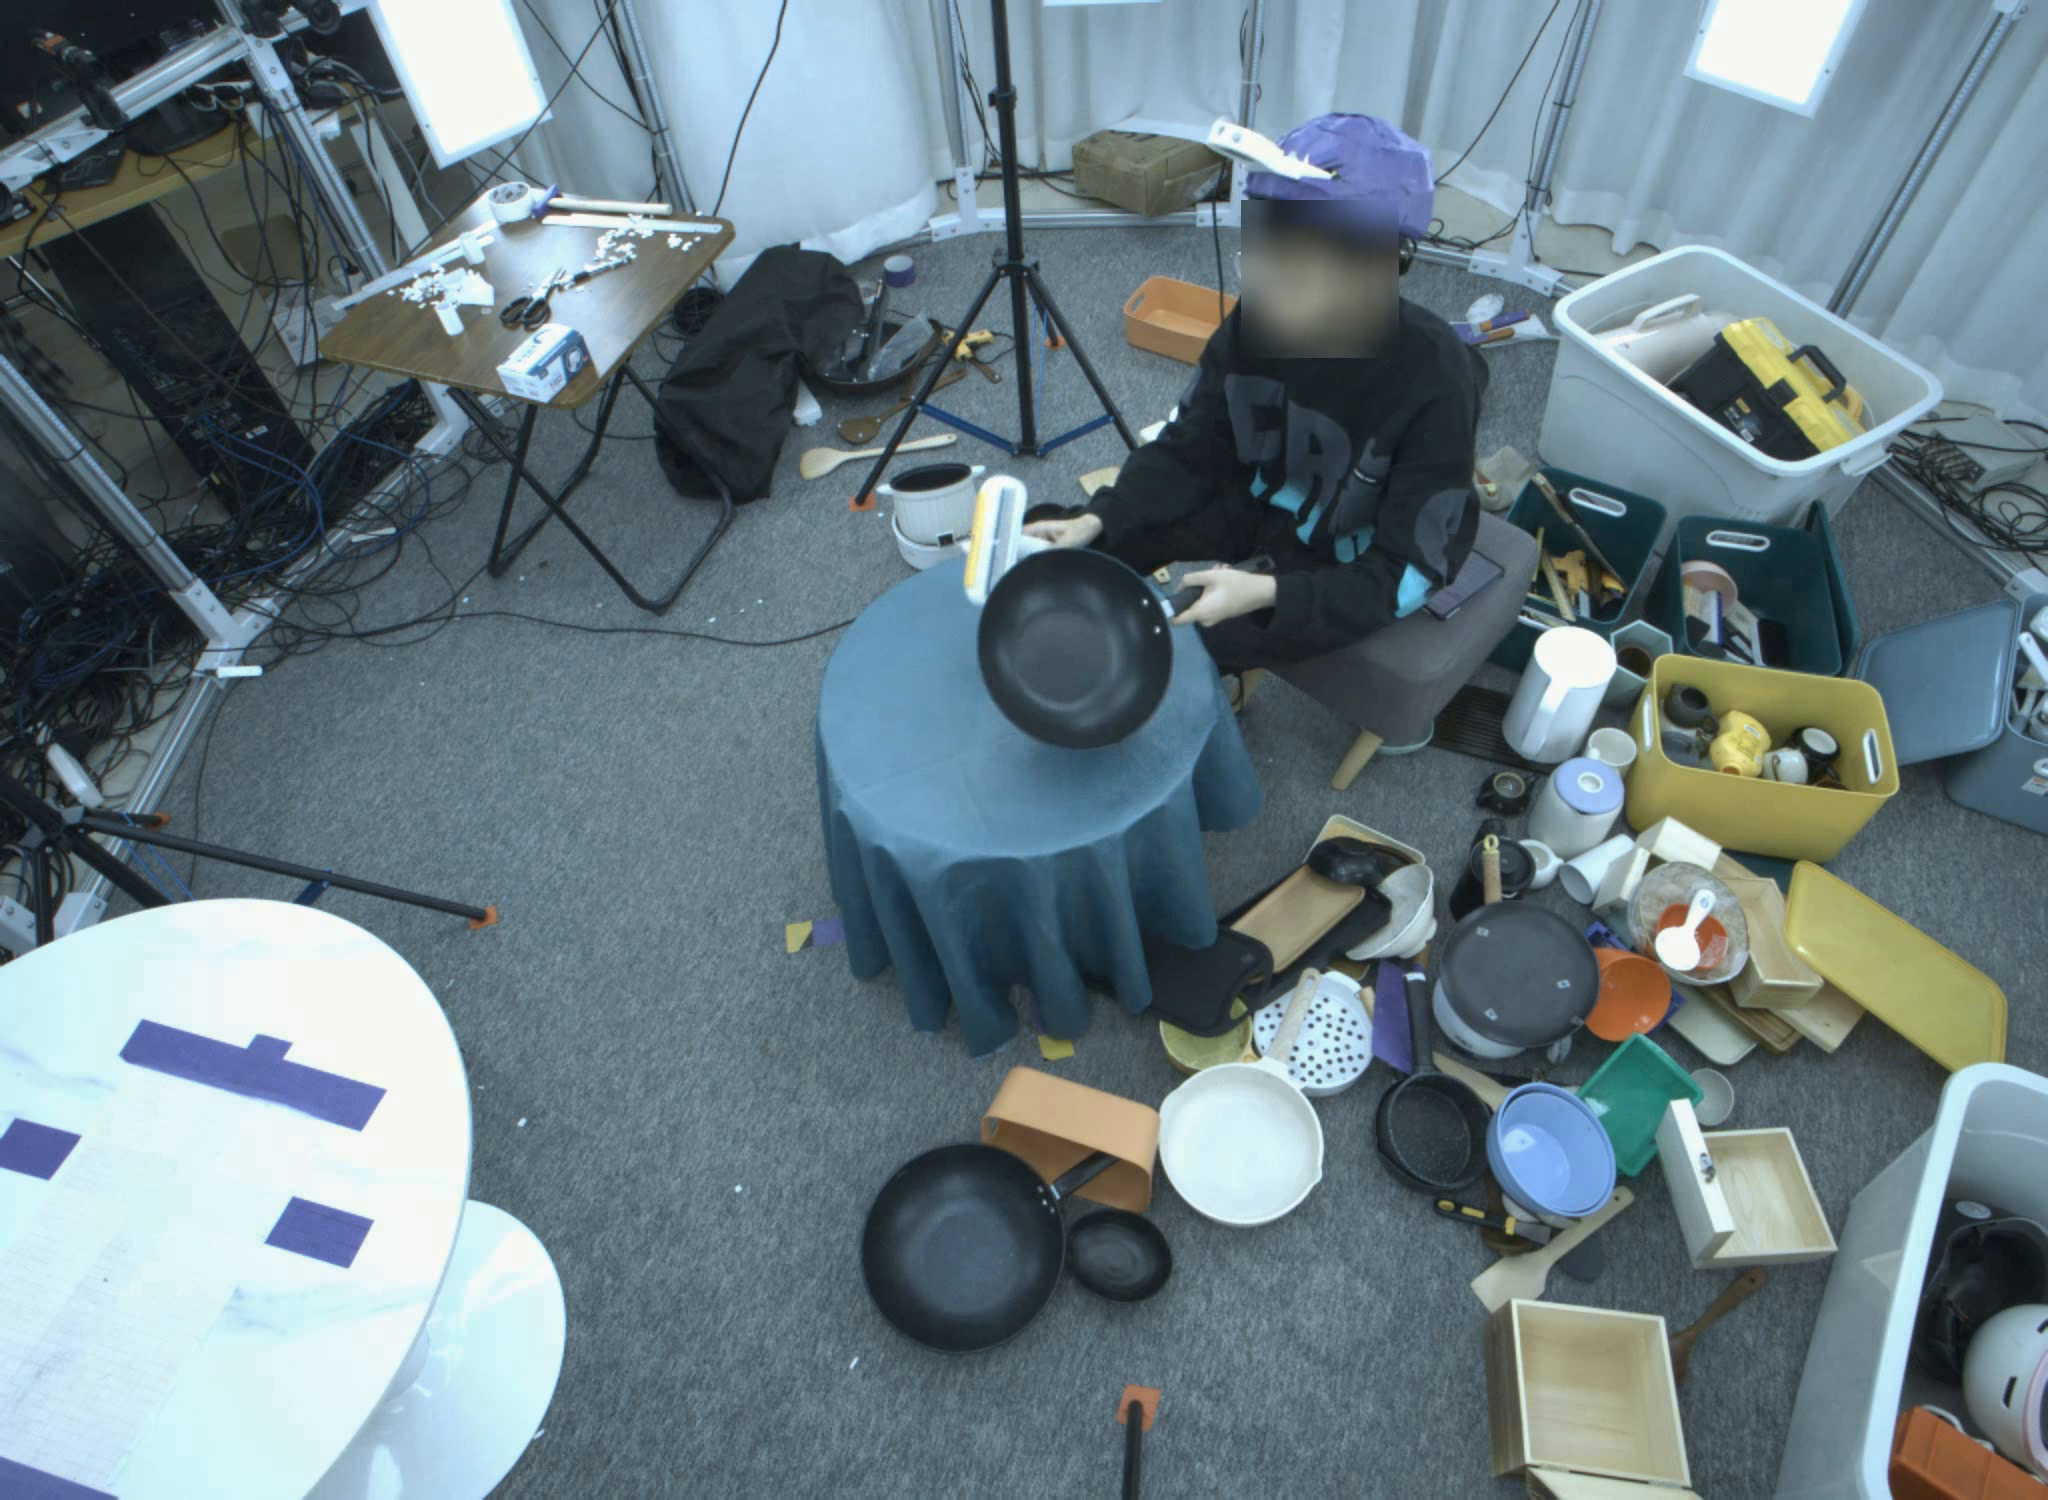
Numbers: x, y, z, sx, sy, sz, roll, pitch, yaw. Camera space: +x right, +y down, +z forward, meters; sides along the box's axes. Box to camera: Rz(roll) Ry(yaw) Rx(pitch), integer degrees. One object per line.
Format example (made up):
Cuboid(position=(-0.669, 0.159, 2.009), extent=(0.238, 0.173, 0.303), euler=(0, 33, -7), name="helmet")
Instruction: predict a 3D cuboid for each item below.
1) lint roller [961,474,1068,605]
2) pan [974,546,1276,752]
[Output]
Cuboid(position=(-0.003, -0.305, 1.847), extent=(0.197, 0.193, 0.072), euler=(6, 3, -36), name="lint roller")
Cuboid(position=(0.142, -0.172, 1.726), extent=(0.467, 0.086, 0.288), euler=(-25, 93, -16), name="pan")
